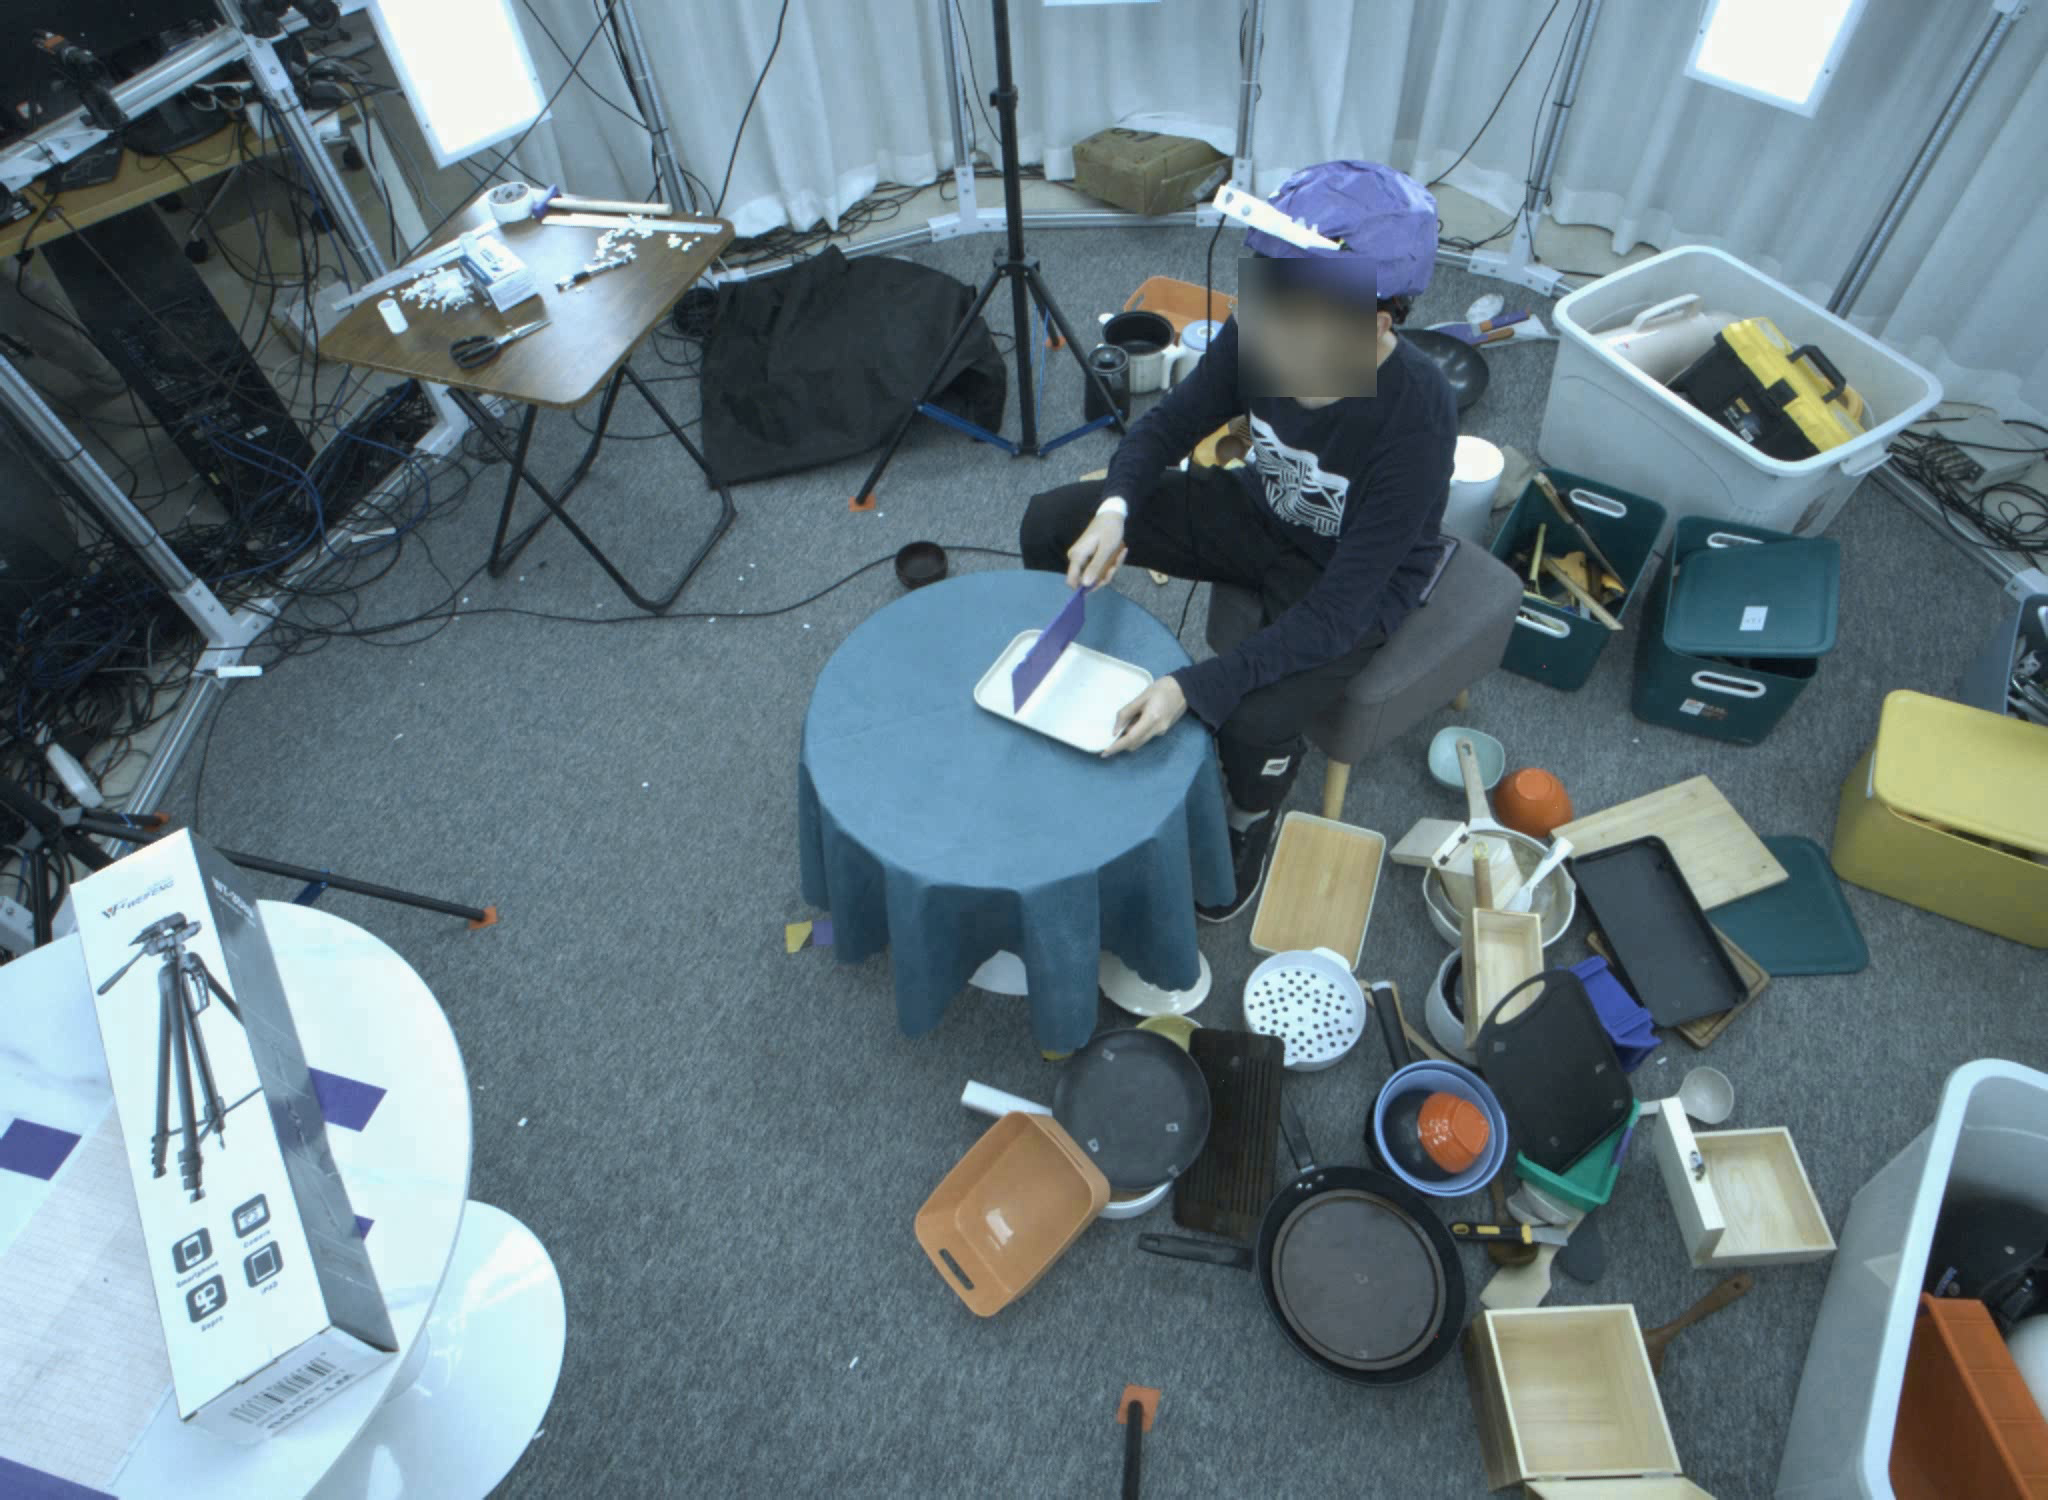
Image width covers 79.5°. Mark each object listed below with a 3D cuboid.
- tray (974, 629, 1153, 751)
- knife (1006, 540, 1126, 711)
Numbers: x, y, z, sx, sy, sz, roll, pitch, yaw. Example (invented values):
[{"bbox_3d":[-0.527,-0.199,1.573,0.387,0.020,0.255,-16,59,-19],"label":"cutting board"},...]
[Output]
[{"bbox_3d":[0.058,-0.091,1.839,0.236,0.018,0.172,24,58,22],"label":"tray"},{"bbox_3d":[0.060,-0.188,1.832,0.032,0.105,0.316,27,59,20],"label":"knife"}]
